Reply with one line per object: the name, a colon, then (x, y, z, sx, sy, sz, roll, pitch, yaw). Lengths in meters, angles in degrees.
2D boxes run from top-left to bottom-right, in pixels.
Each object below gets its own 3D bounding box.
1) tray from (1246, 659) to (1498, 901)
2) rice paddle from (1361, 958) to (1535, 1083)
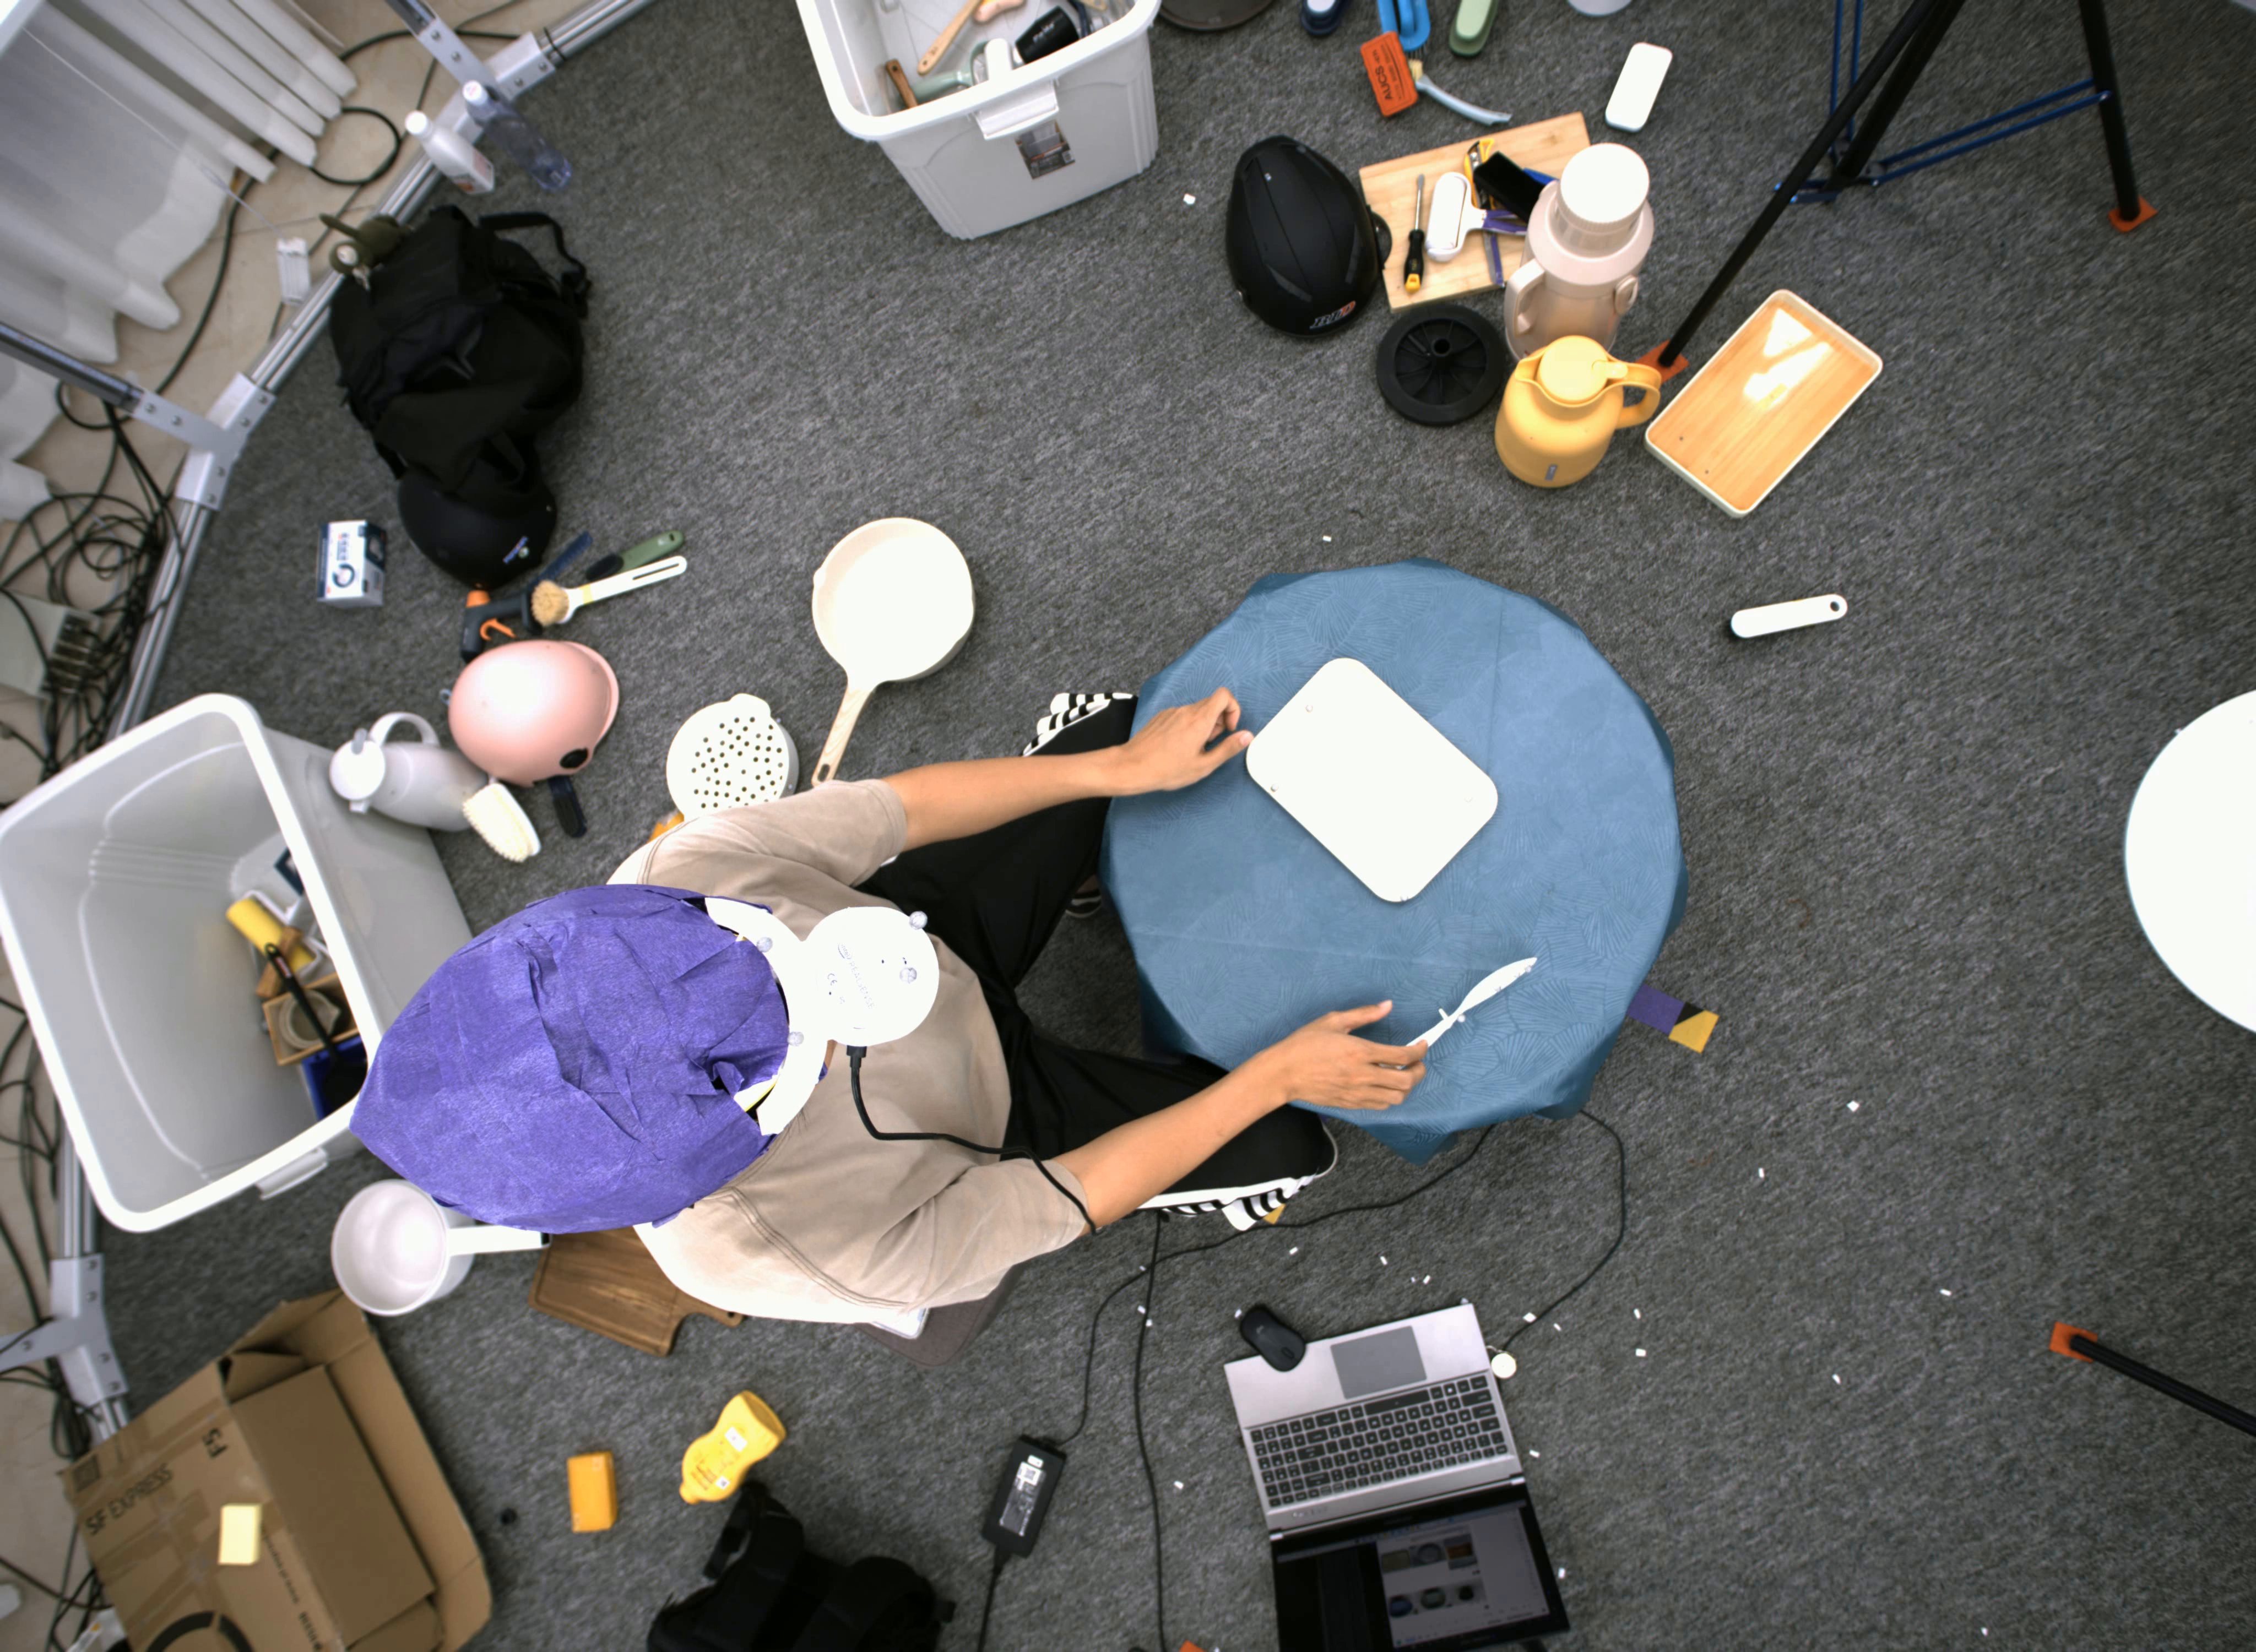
tray: (0.257, -0.051, 1.462, 0.238, 0.017, 0.172, 44, 94, 10)
rice paddle: (0.331, 0.193, 1.411, 0.207, 0.069, 0.029, -37, 72, 13)
